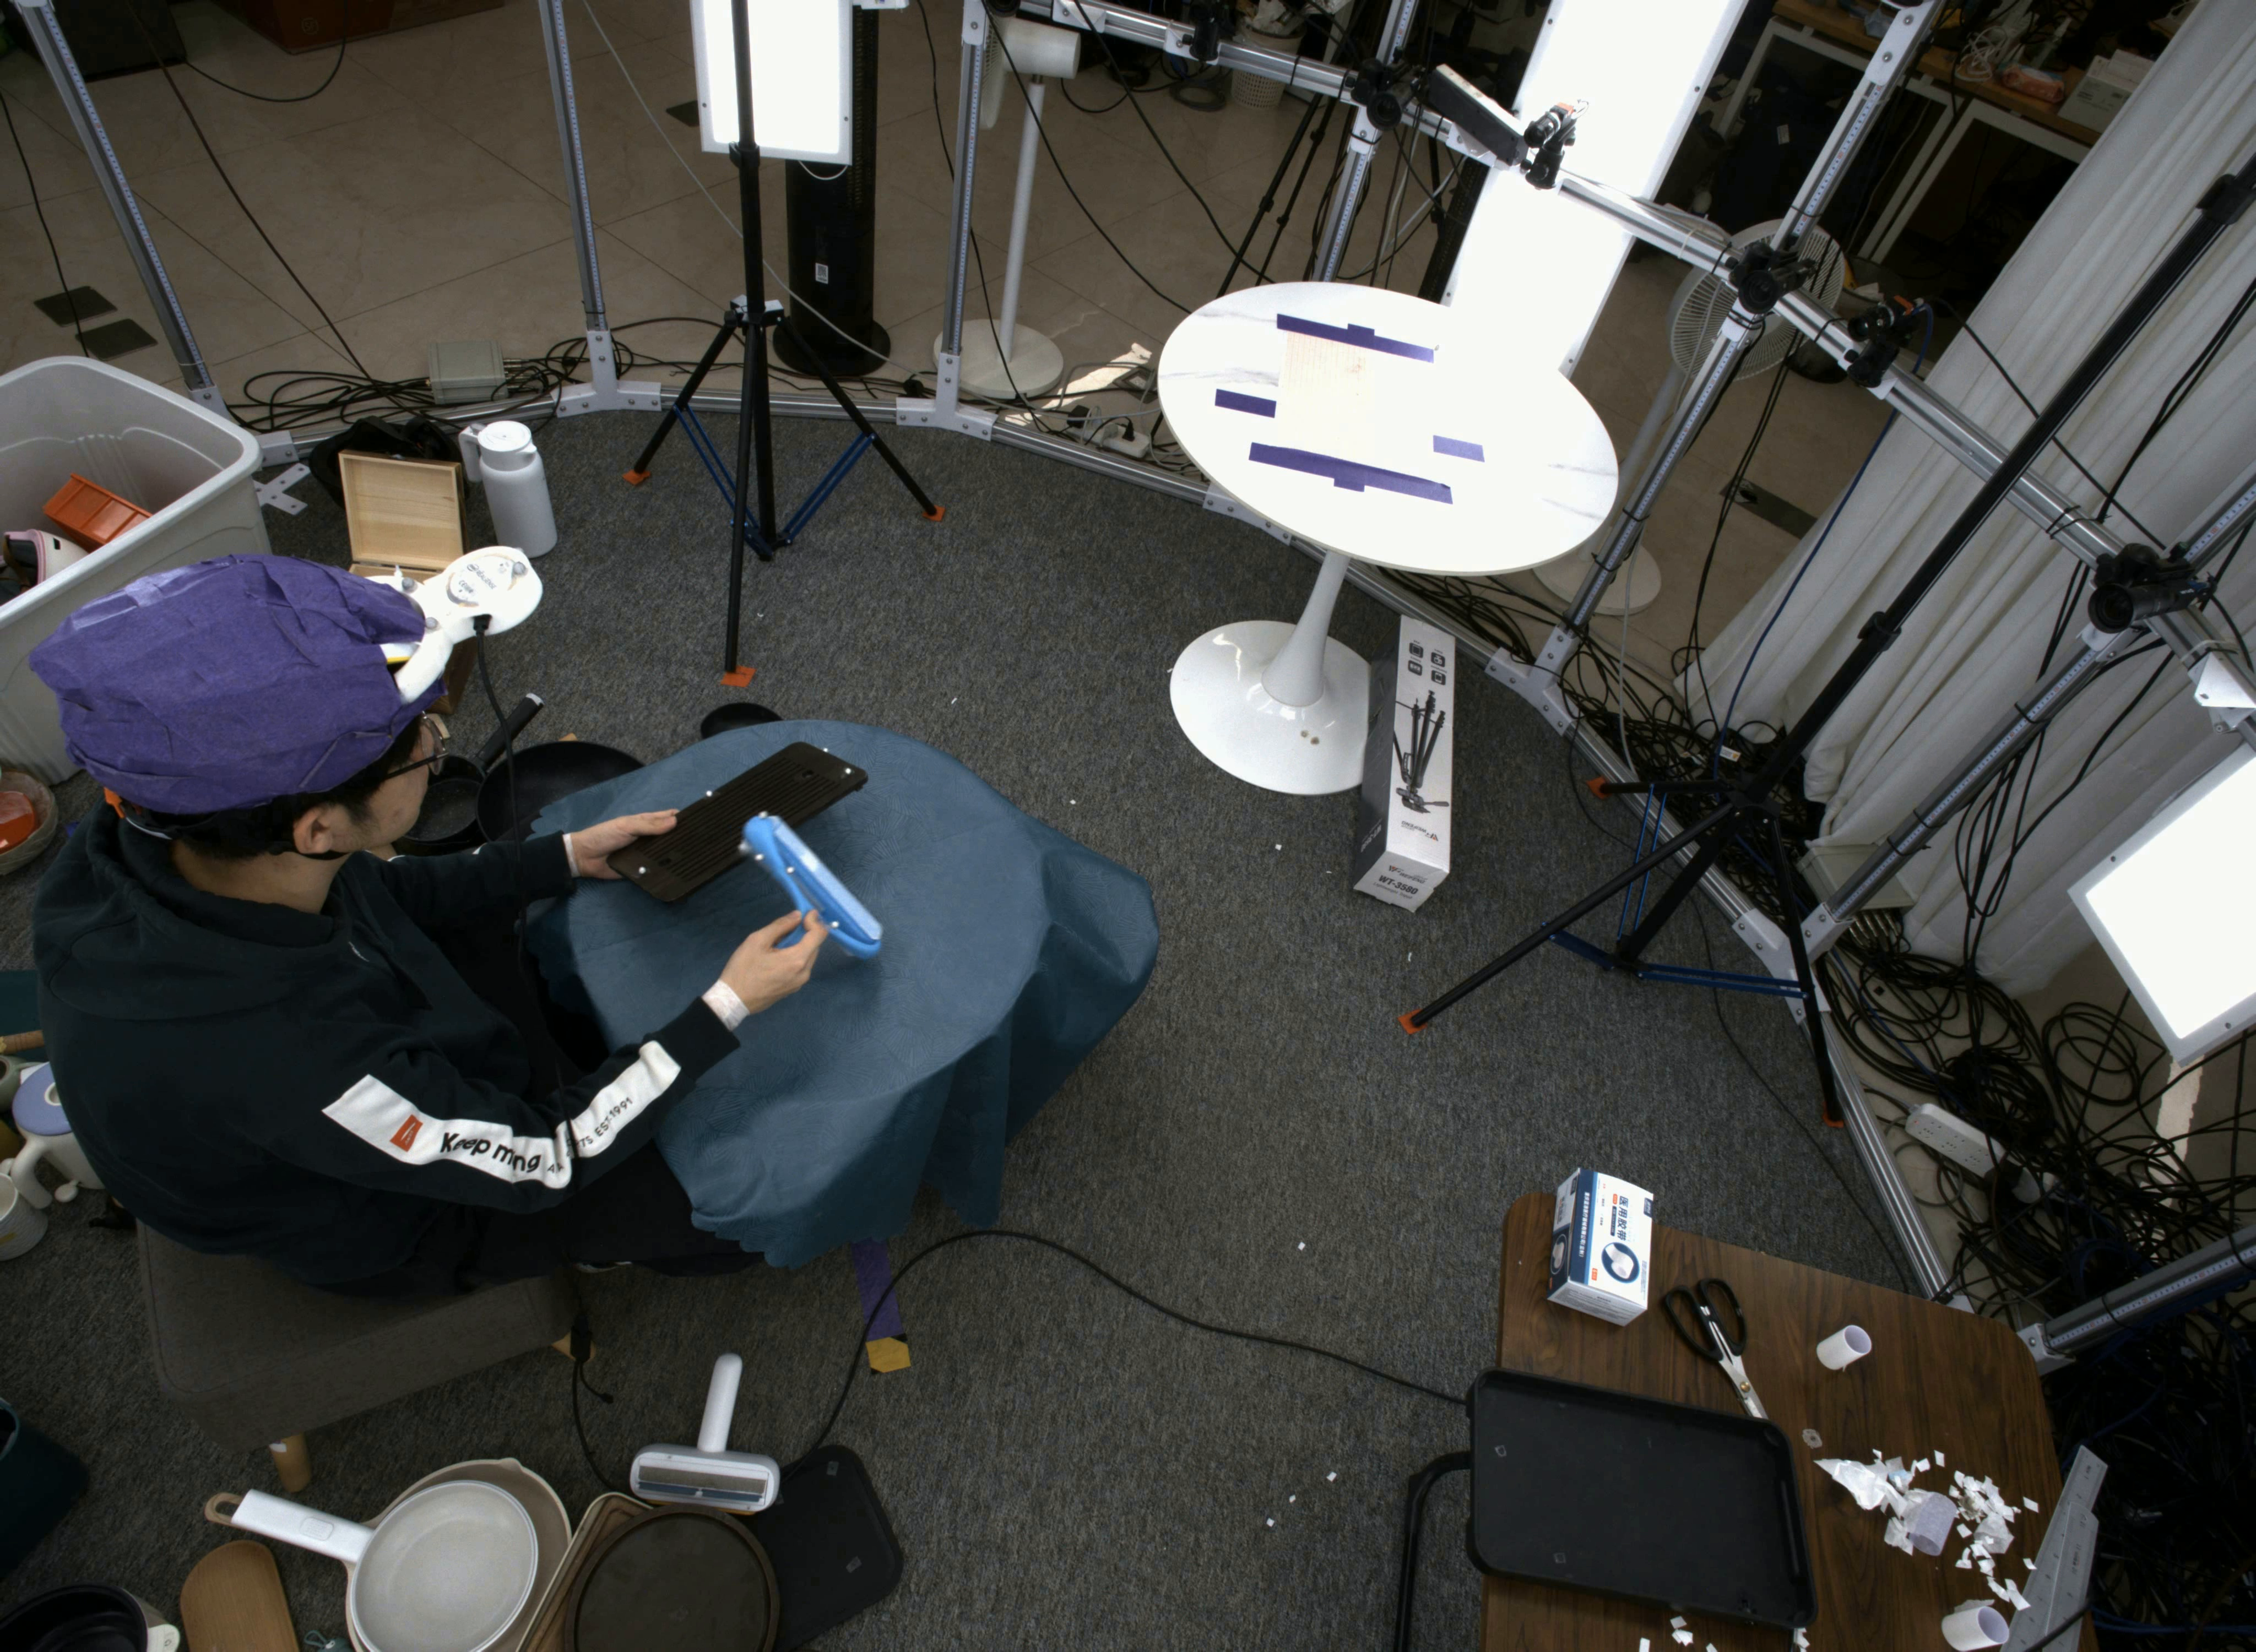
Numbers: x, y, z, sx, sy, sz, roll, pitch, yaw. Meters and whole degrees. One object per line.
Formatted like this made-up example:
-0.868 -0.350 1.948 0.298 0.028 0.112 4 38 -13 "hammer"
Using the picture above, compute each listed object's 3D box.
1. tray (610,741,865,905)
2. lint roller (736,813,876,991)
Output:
-0.489 -0.009 1.620 0.163 0.019 0.306 22 47 38 "tray"
-0.391 0.112 1.505 0.066 0.237 0.177 -15 42 28 "lint roller"
